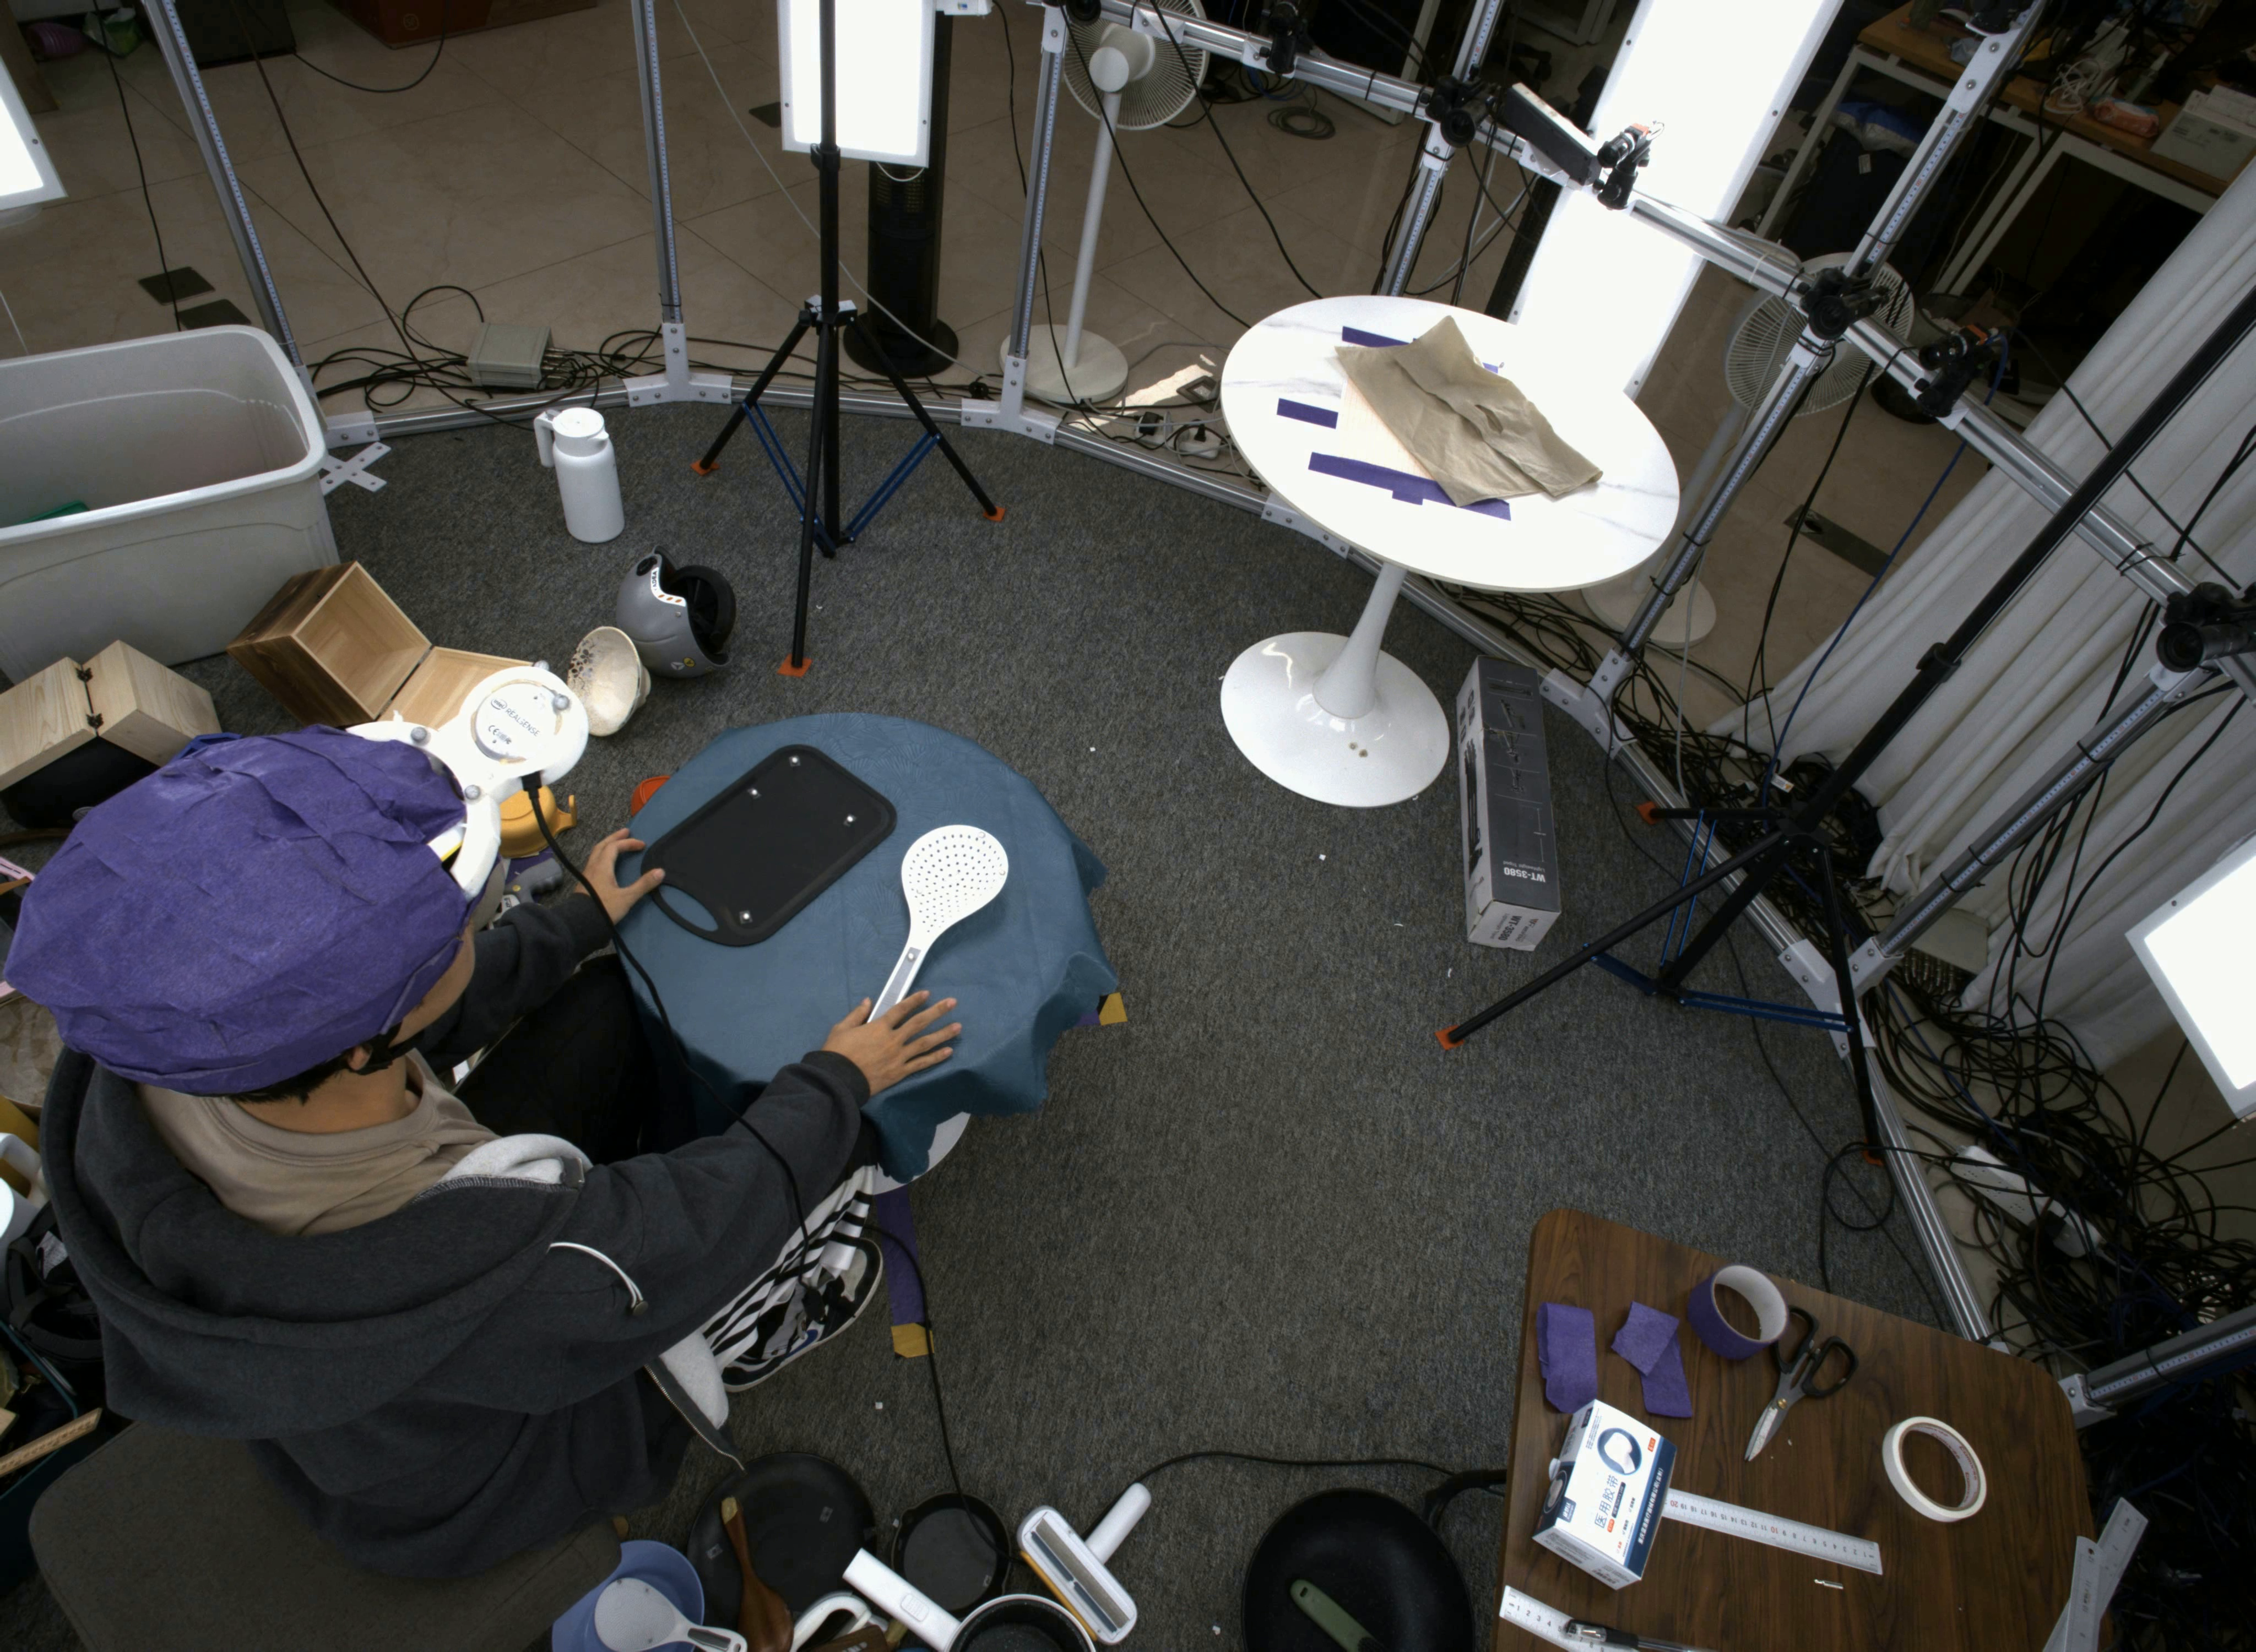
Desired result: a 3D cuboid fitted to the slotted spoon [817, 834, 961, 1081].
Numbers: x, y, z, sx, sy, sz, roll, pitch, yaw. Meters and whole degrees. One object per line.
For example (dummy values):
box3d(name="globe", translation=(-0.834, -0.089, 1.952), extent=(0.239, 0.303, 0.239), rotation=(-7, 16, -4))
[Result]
box3d(name="slotted spoon", translation=(-0.307, 0.154, 1.613), extent=(0.133, 0.047, 0.346), rotation=(12, 52, 9))

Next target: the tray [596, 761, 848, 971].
box3d(name="tray", translation=(-0.526, 0.047, 1.664), extent=(0.207, 0.010, 0.325), rotation=(33, 53, 11))
